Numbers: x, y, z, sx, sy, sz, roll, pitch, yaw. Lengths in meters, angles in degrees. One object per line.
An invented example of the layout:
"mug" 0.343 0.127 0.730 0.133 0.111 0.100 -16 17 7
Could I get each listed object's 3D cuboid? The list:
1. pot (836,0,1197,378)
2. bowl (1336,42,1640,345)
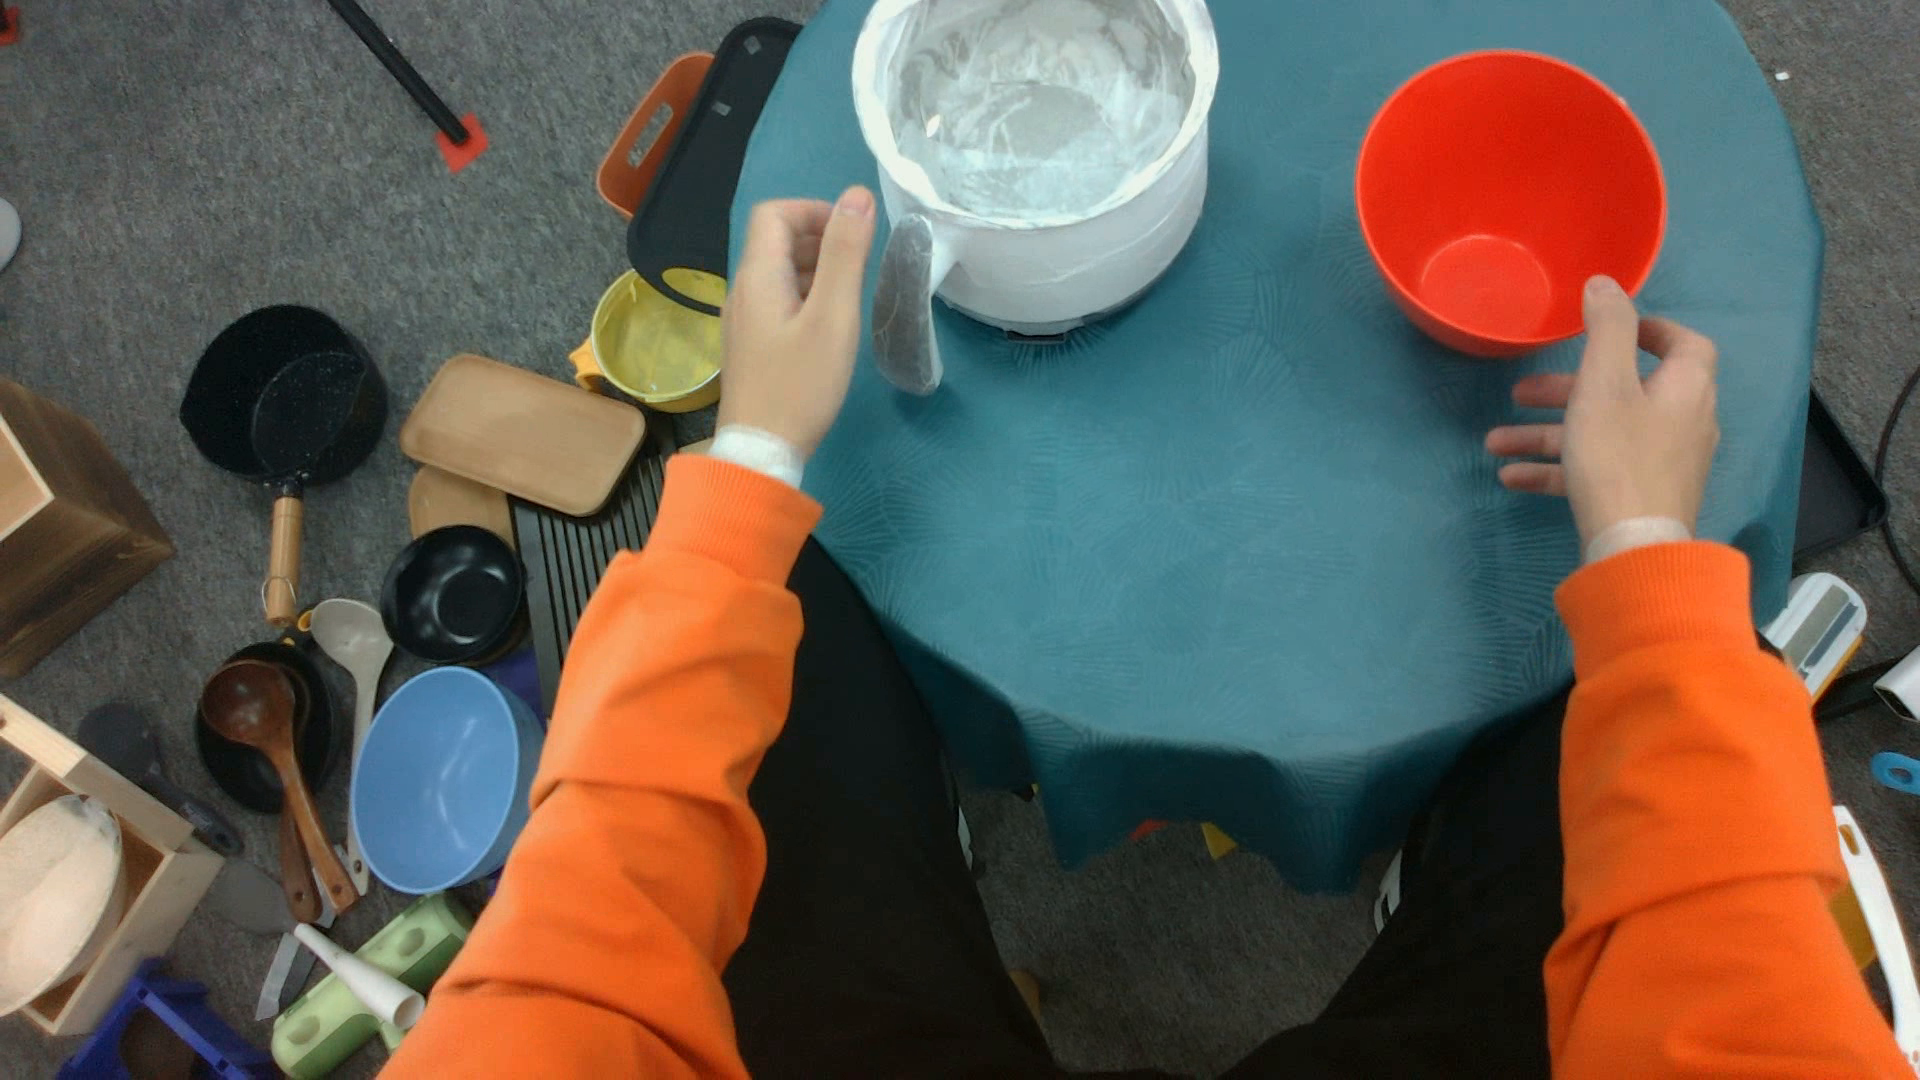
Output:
"pot" 0.019 -0.197 0.723 0.179 0.136 0.234 30 78 14
"bowl" 0.261 -0.163 0.708 0.148 0.104 0.148 -1 74 5
